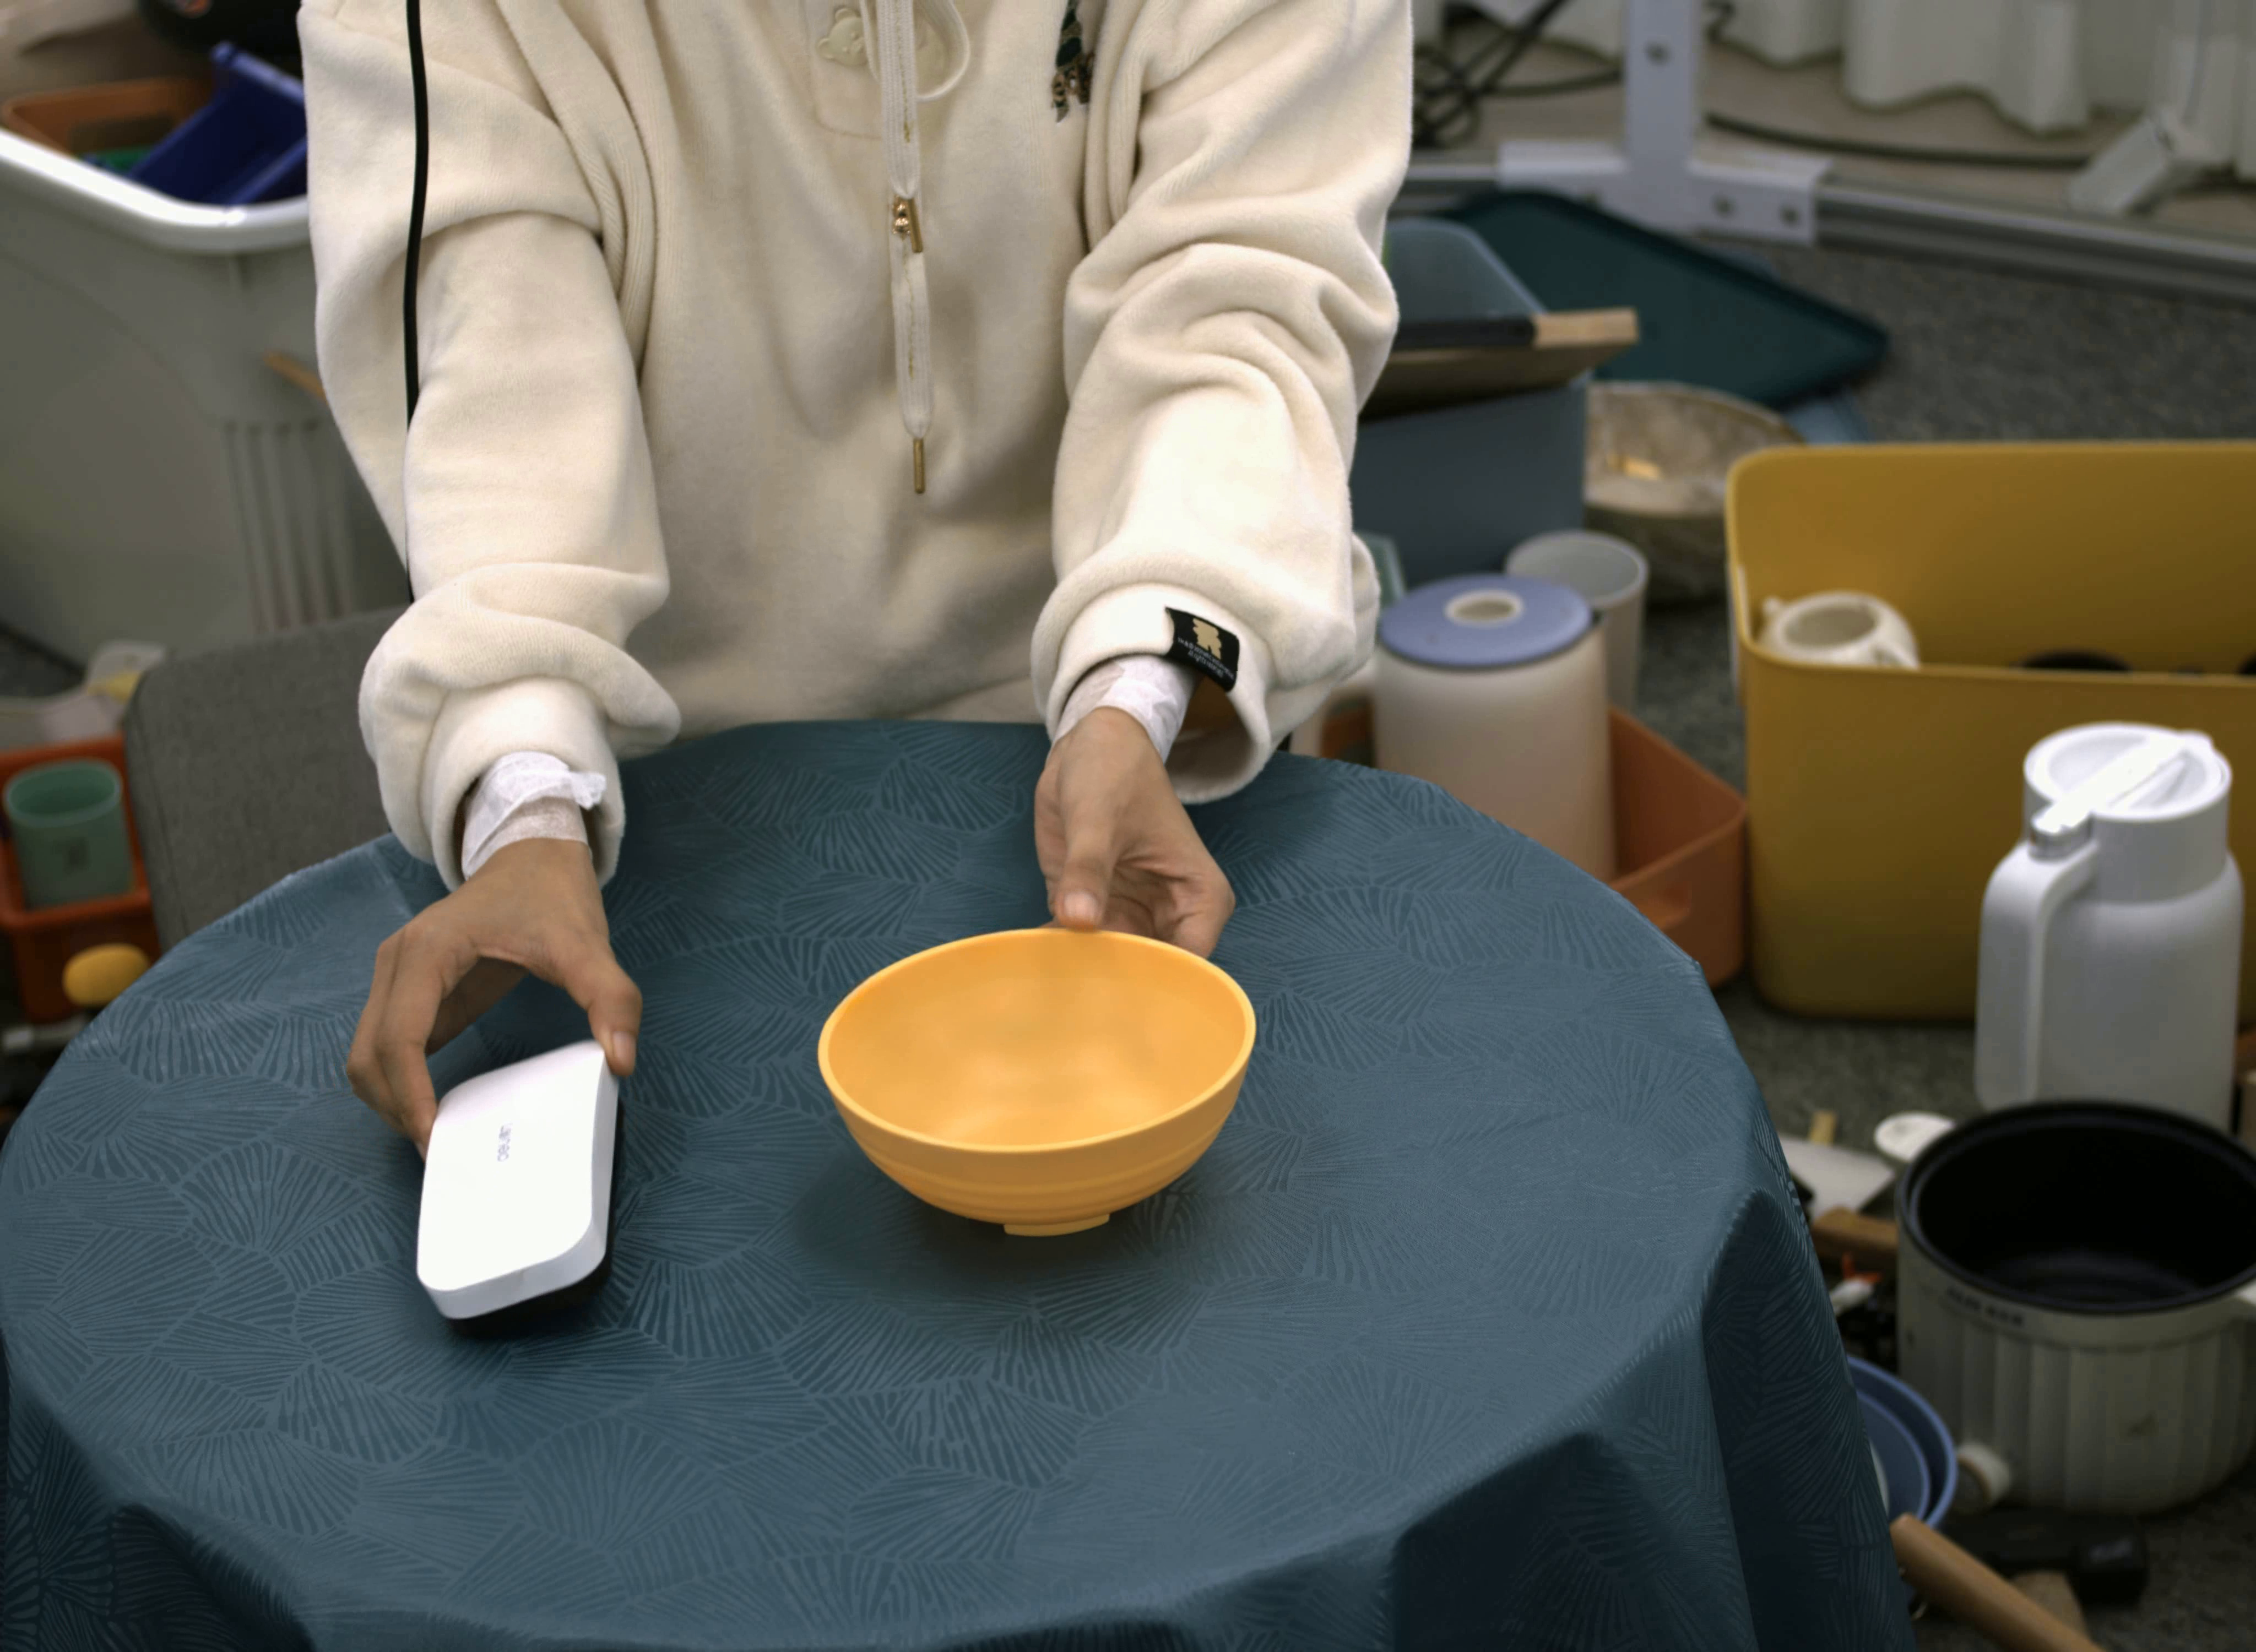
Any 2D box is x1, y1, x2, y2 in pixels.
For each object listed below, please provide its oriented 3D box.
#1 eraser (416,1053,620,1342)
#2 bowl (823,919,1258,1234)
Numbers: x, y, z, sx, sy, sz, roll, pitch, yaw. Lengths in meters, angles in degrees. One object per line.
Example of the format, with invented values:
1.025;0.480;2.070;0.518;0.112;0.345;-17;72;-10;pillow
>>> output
-0.197;0.118;1.841;0.063;0.034;0.133;-15;28;5;eraser
-0.027;0.093;1.857;0.144;0.059;0.147;-3;29;2;bowl
